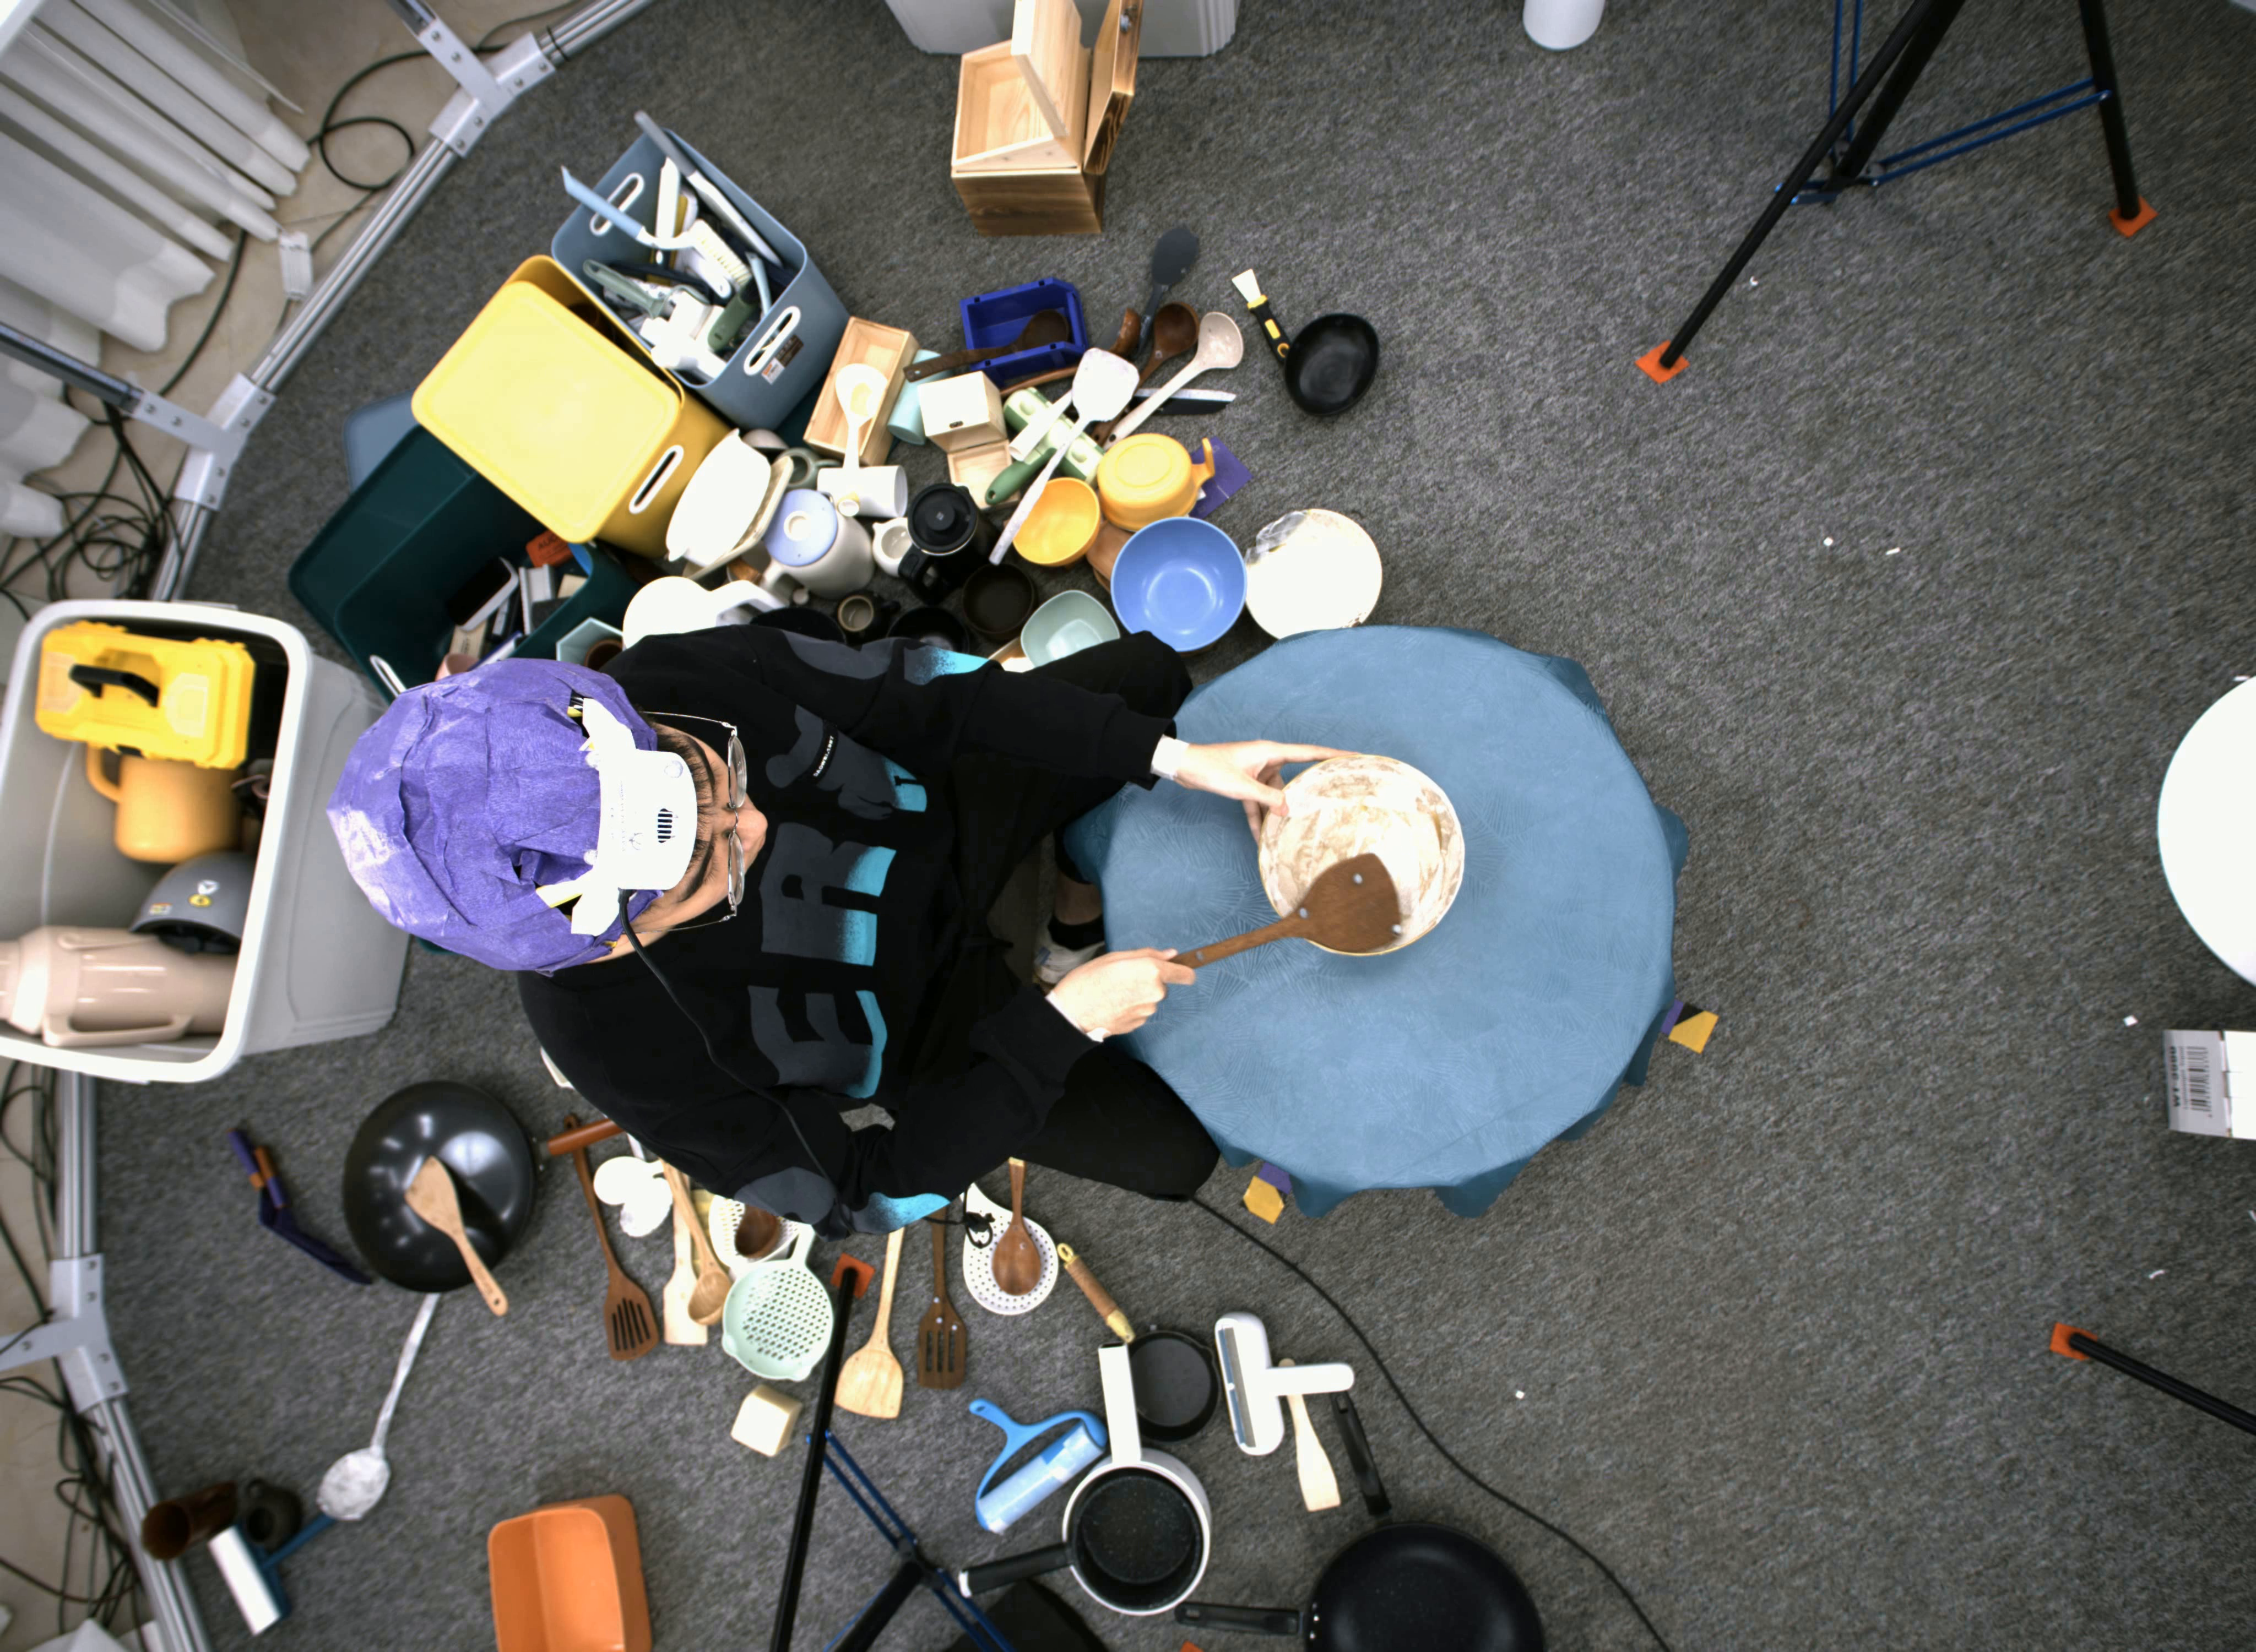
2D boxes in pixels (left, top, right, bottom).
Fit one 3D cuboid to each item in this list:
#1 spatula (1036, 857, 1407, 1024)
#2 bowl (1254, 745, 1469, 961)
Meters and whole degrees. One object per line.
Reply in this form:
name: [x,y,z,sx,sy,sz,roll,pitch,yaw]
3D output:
spatula: [0.095,0.122,1.339,0.384,0.016,0.096,-17,91,-13]
bowl: [0.233,0.029,1.400,0.215,0.094,0.214,0,91,5]
